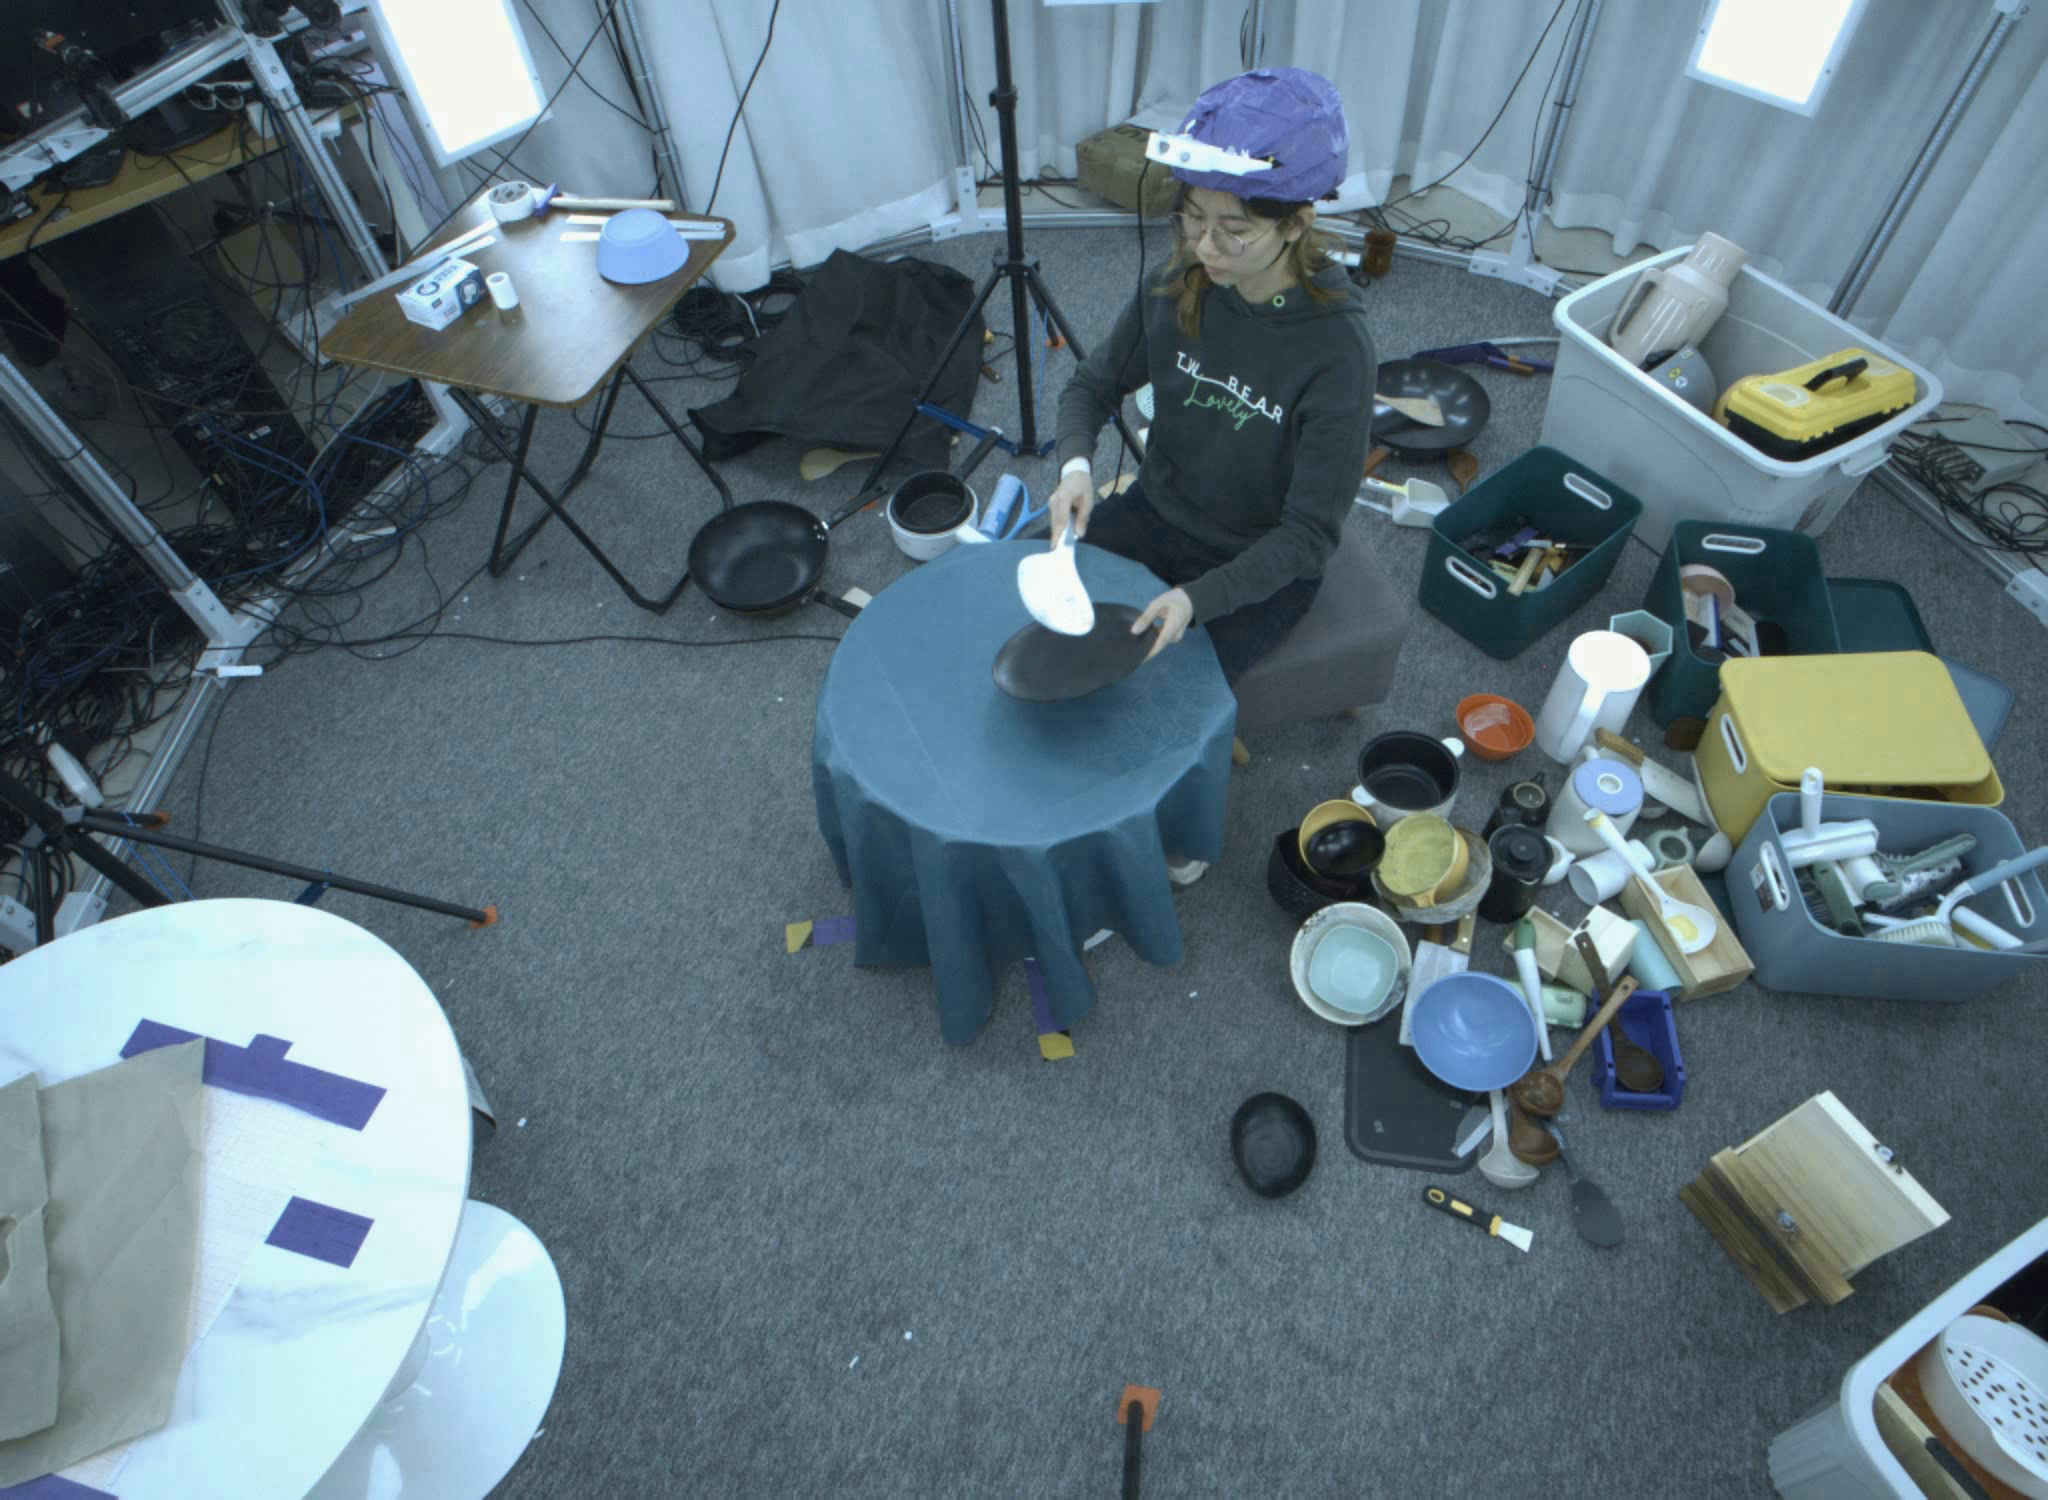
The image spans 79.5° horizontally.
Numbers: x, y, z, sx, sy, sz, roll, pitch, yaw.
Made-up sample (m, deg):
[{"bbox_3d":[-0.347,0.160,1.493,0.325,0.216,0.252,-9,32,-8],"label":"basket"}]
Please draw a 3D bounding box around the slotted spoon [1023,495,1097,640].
[{"bbox_3d":[0.064,-0.282,1.827,0.138,0.045,0.348,36,44,-21],"label":"slotted spoon"}]

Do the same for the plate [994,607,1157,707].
[{"bbox_3d":[0.075,-0.131,1.781,0.243,0.024,0.242,-12,36,10],"label":"plate"}]
